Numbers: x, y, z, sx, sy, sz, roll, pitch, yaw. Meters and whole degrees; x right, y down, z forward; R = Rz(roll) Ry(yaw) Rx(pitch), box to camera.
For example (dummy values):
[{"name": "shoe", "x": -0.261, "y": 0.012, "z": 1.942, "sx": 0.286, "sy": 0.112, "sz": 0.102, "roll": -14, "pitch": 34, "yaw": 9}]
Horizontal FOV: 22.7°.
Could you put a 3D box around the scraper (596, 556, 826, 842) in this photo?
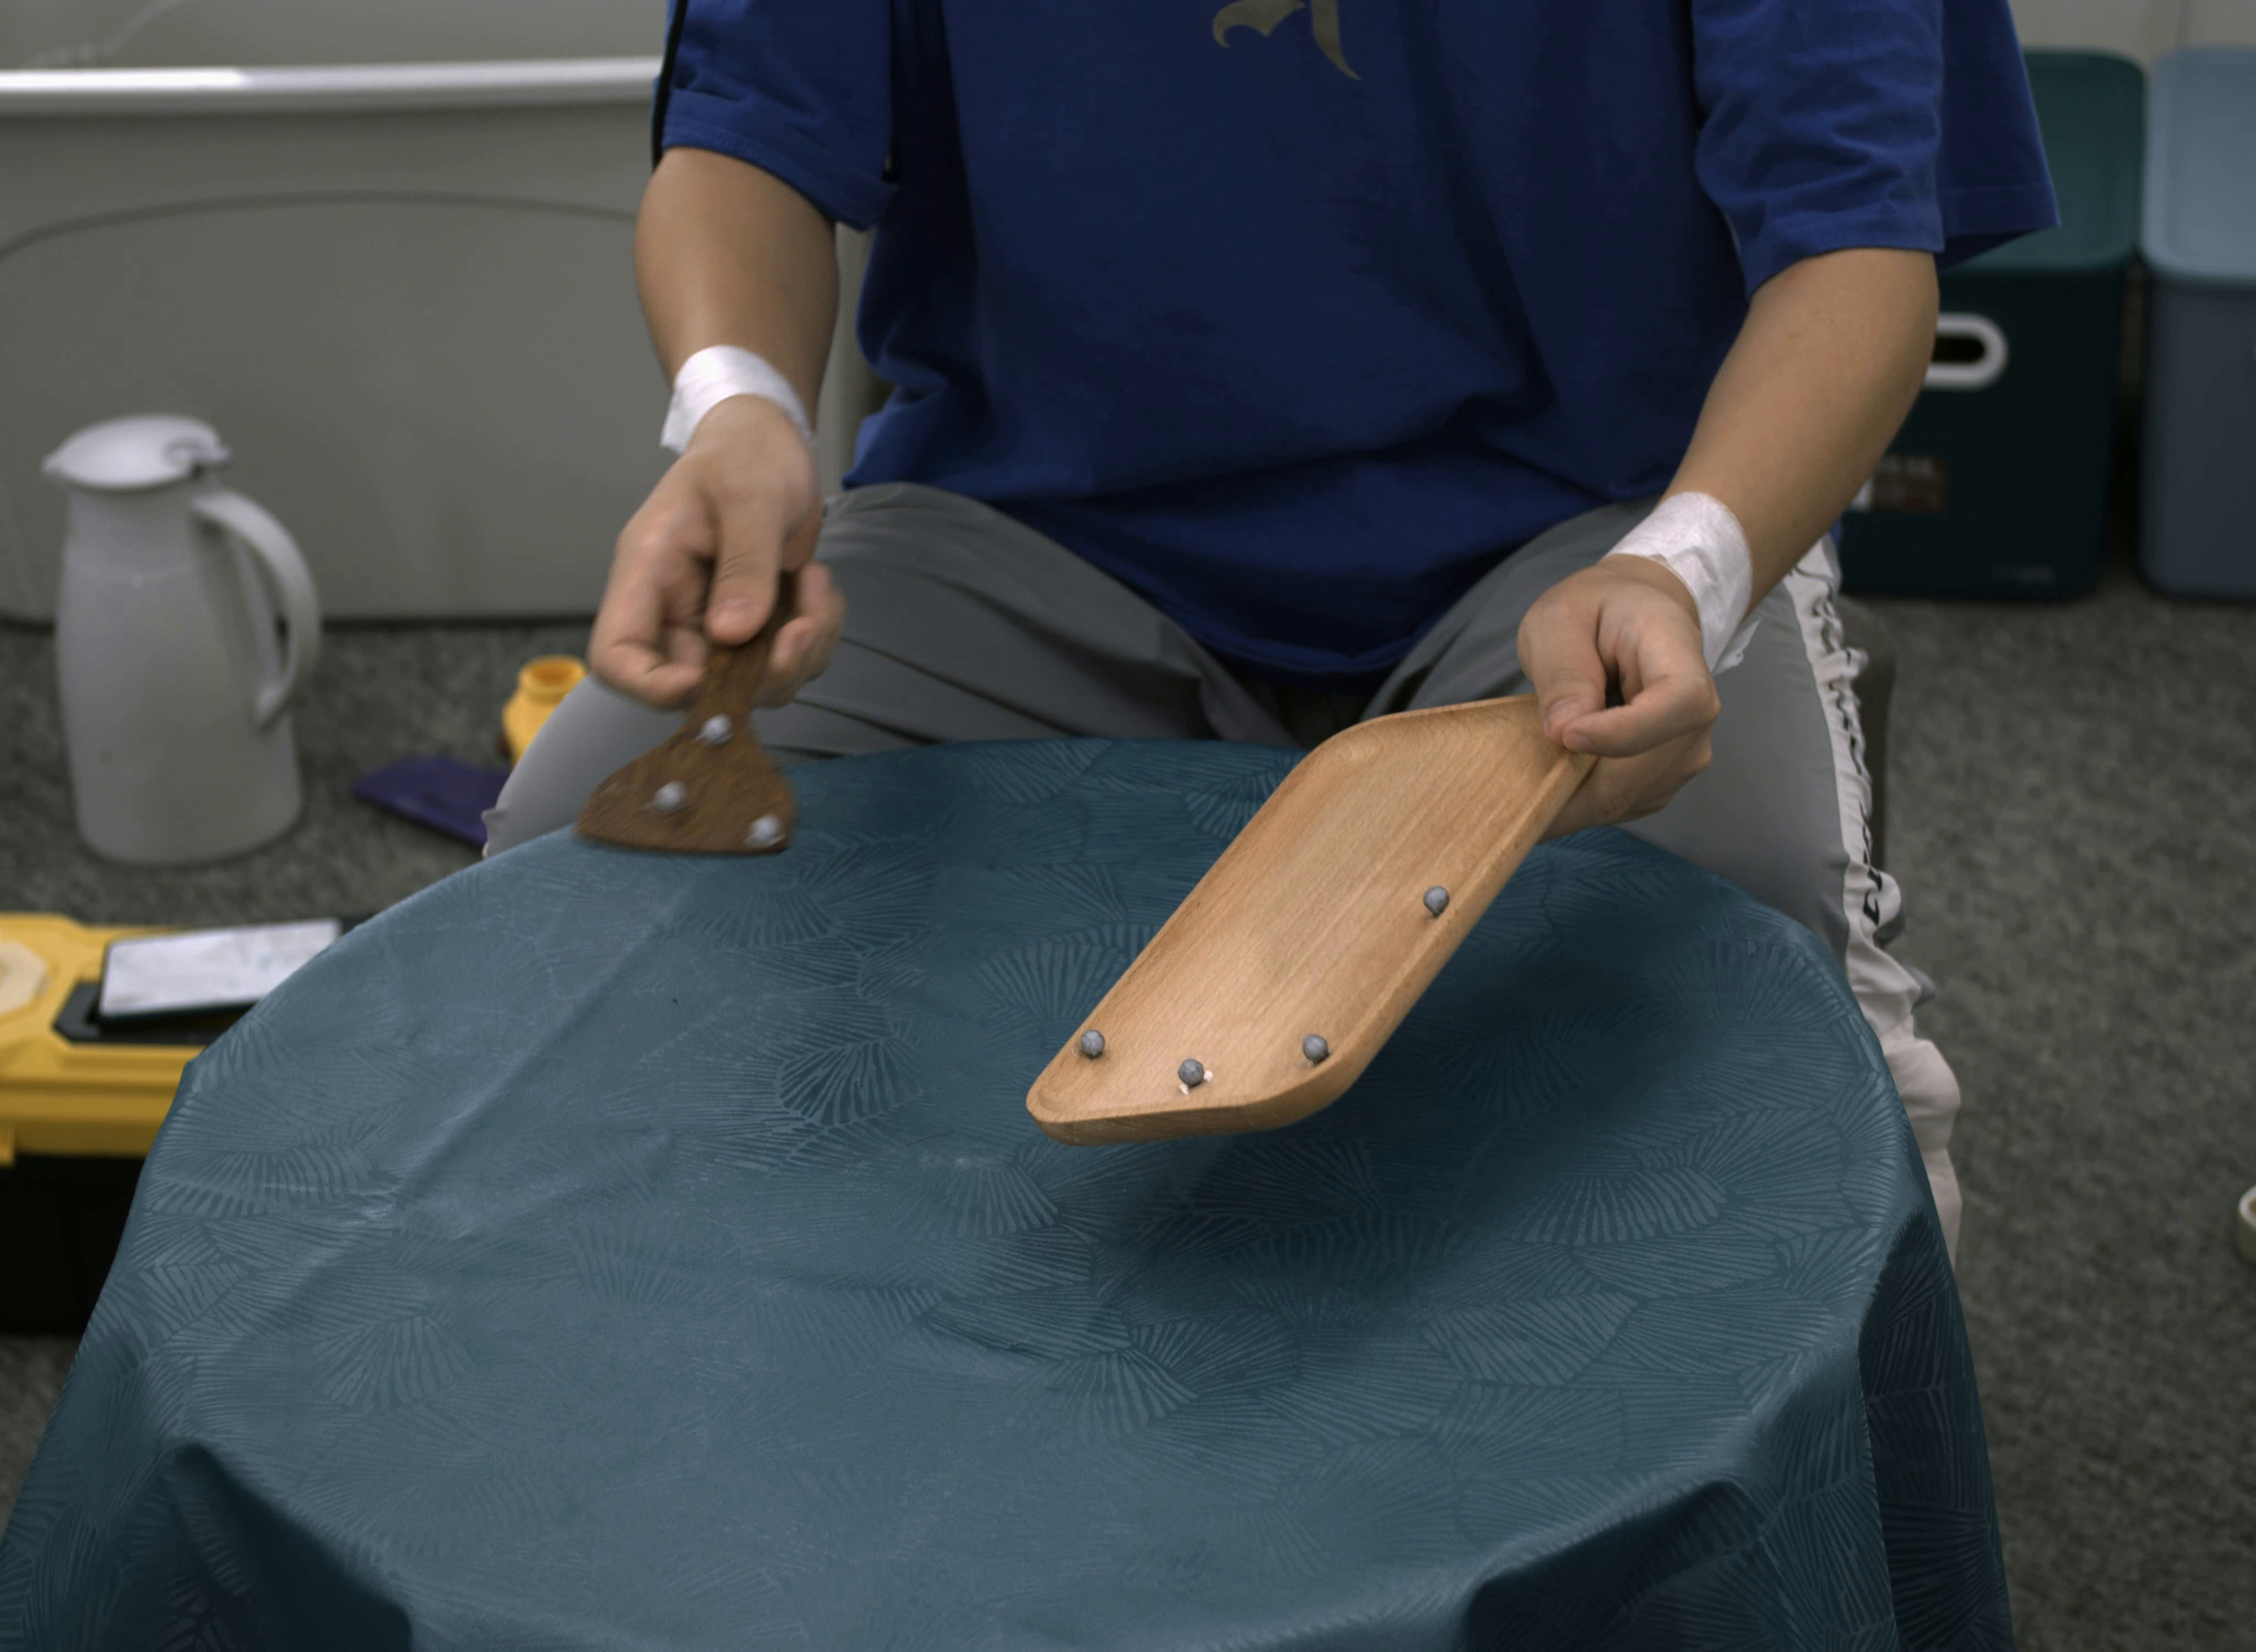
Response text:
[{"name": "scraper", "x": -0.134, "y": -0.045, "z": 1.966, "sx": 0.075, "sy": 0.010, "sz": 0.215, "roll": 6, "pitch": 29, "yaw": 1}]

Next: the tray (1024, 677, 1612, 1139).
[{"name": "tray", "x": 0.066, "y": 0.026, "z": 1.872, "sx": 0.129, "sy": 0.023, "sz": 0.255, "roll": -6, "pitch": 28, "yaw": 36}]
